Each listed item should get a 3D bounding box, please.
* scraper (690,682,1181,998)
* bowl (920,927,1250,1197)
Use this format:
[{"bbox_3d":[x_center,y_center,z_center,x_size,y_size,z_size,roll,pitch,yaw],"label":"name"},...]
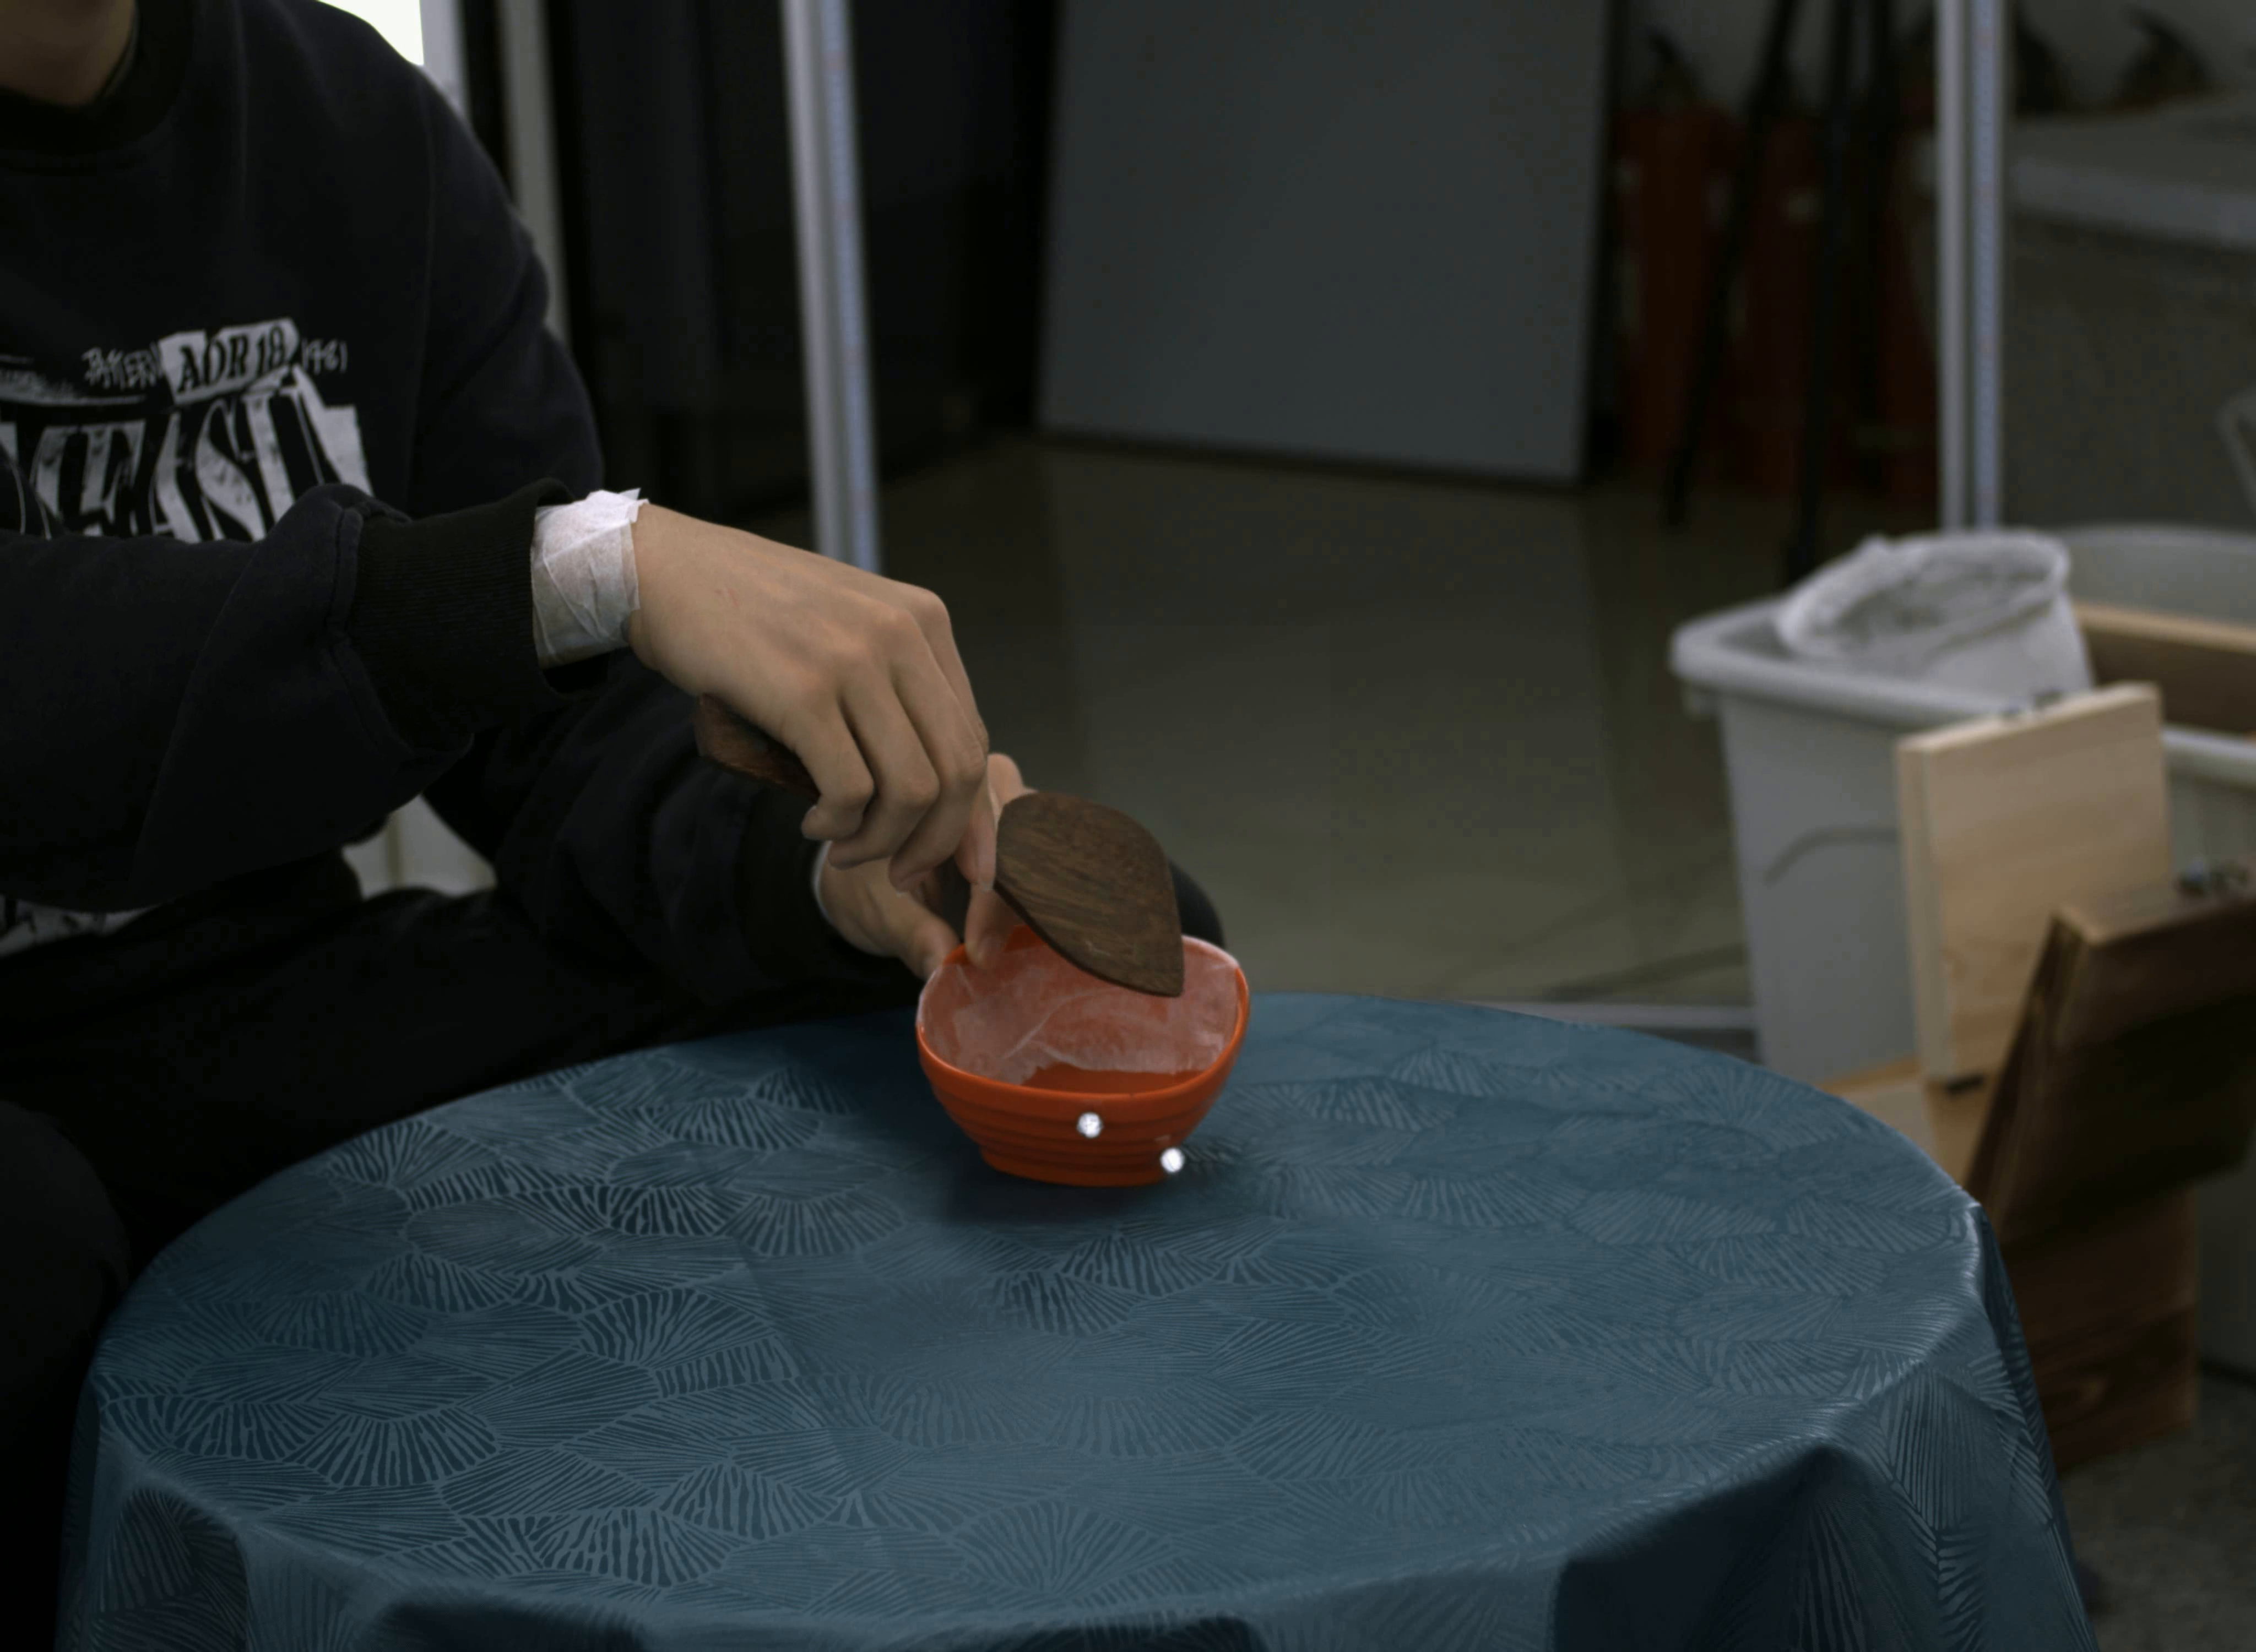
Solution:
[{"bbox_3d":[-0.061,-0.003,1.755,0.207,0.077,0.011,24,-44,-38],"label":"scraper"},{"bbox_3d":[-0.013,0.083,1.796,0.117,0.052,0.119,-2,32,1],"label":"bowl"}]
